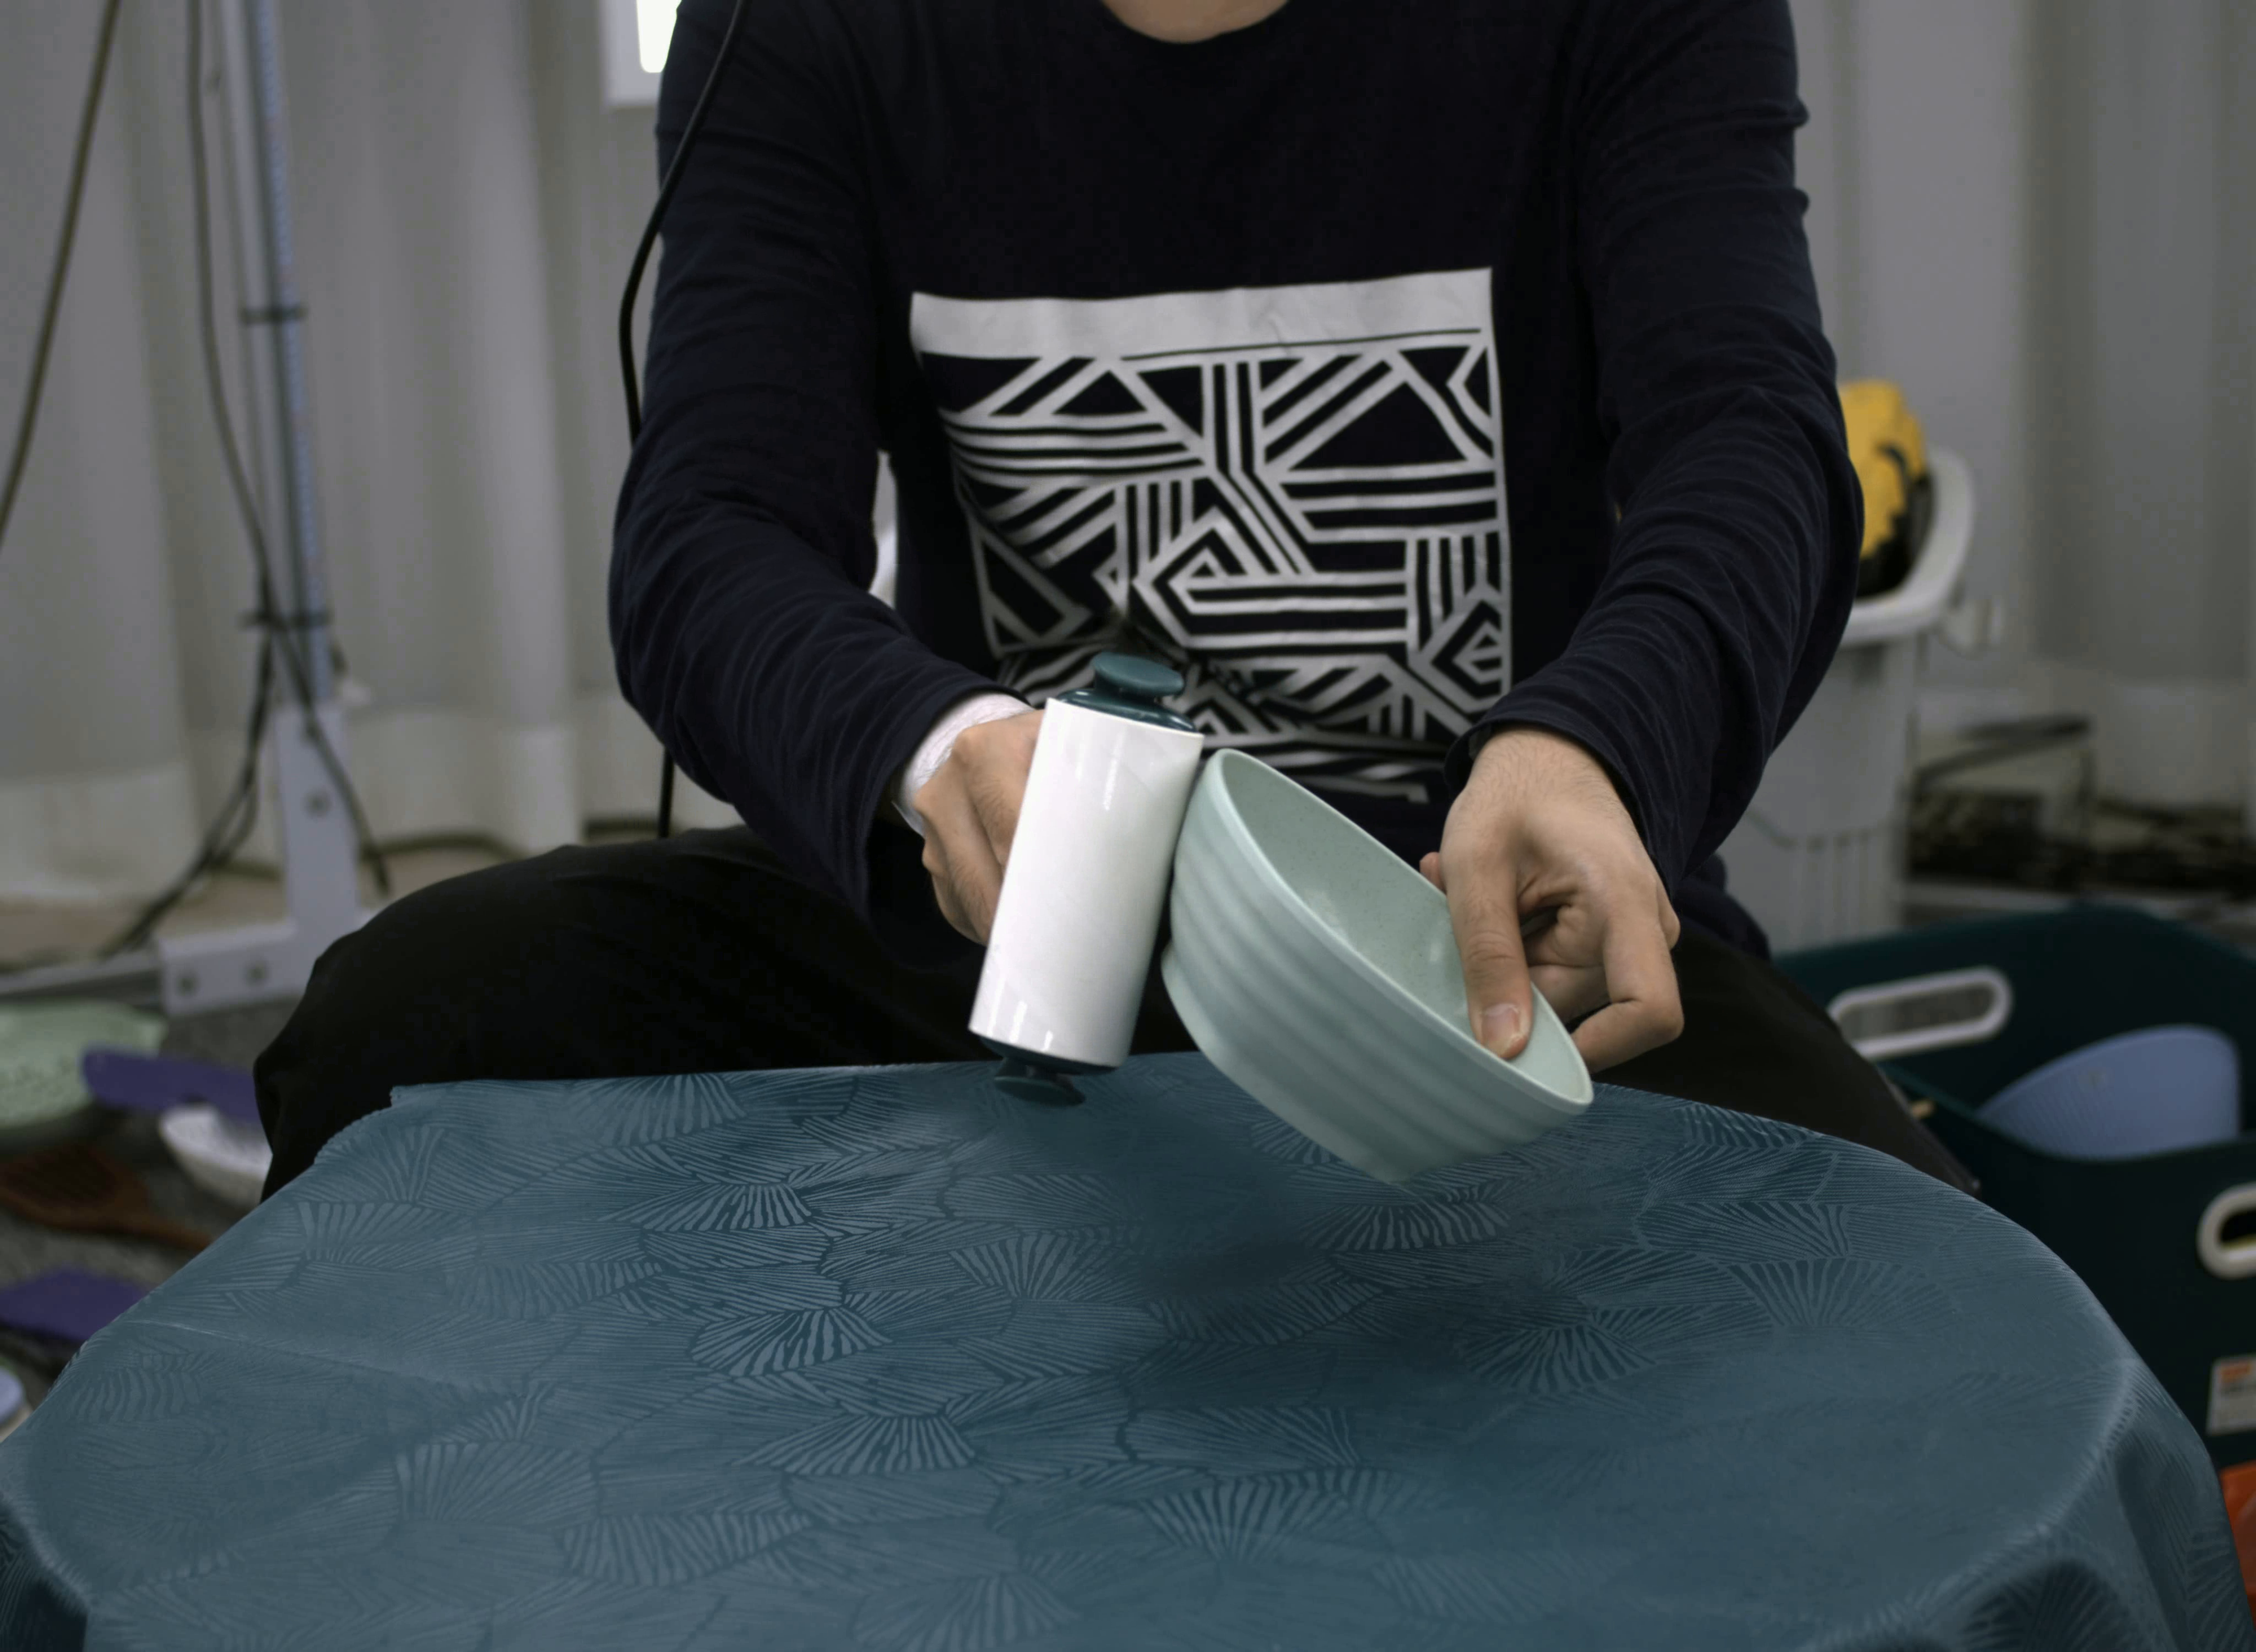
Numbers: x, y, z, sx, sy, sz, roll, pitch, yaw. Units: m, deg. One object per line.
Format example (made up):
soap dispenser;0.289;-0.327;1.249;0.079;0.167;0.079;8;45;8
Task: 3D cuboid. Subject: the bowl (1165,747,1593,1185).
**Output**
bowl;0.061;0.049;1.569;0.150;0.058;0.153;37;16;-13

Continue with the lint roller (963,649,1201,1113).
lint roller;-0.024;0.011;1.645;0.048;0.134;0.180;14;2;-11
